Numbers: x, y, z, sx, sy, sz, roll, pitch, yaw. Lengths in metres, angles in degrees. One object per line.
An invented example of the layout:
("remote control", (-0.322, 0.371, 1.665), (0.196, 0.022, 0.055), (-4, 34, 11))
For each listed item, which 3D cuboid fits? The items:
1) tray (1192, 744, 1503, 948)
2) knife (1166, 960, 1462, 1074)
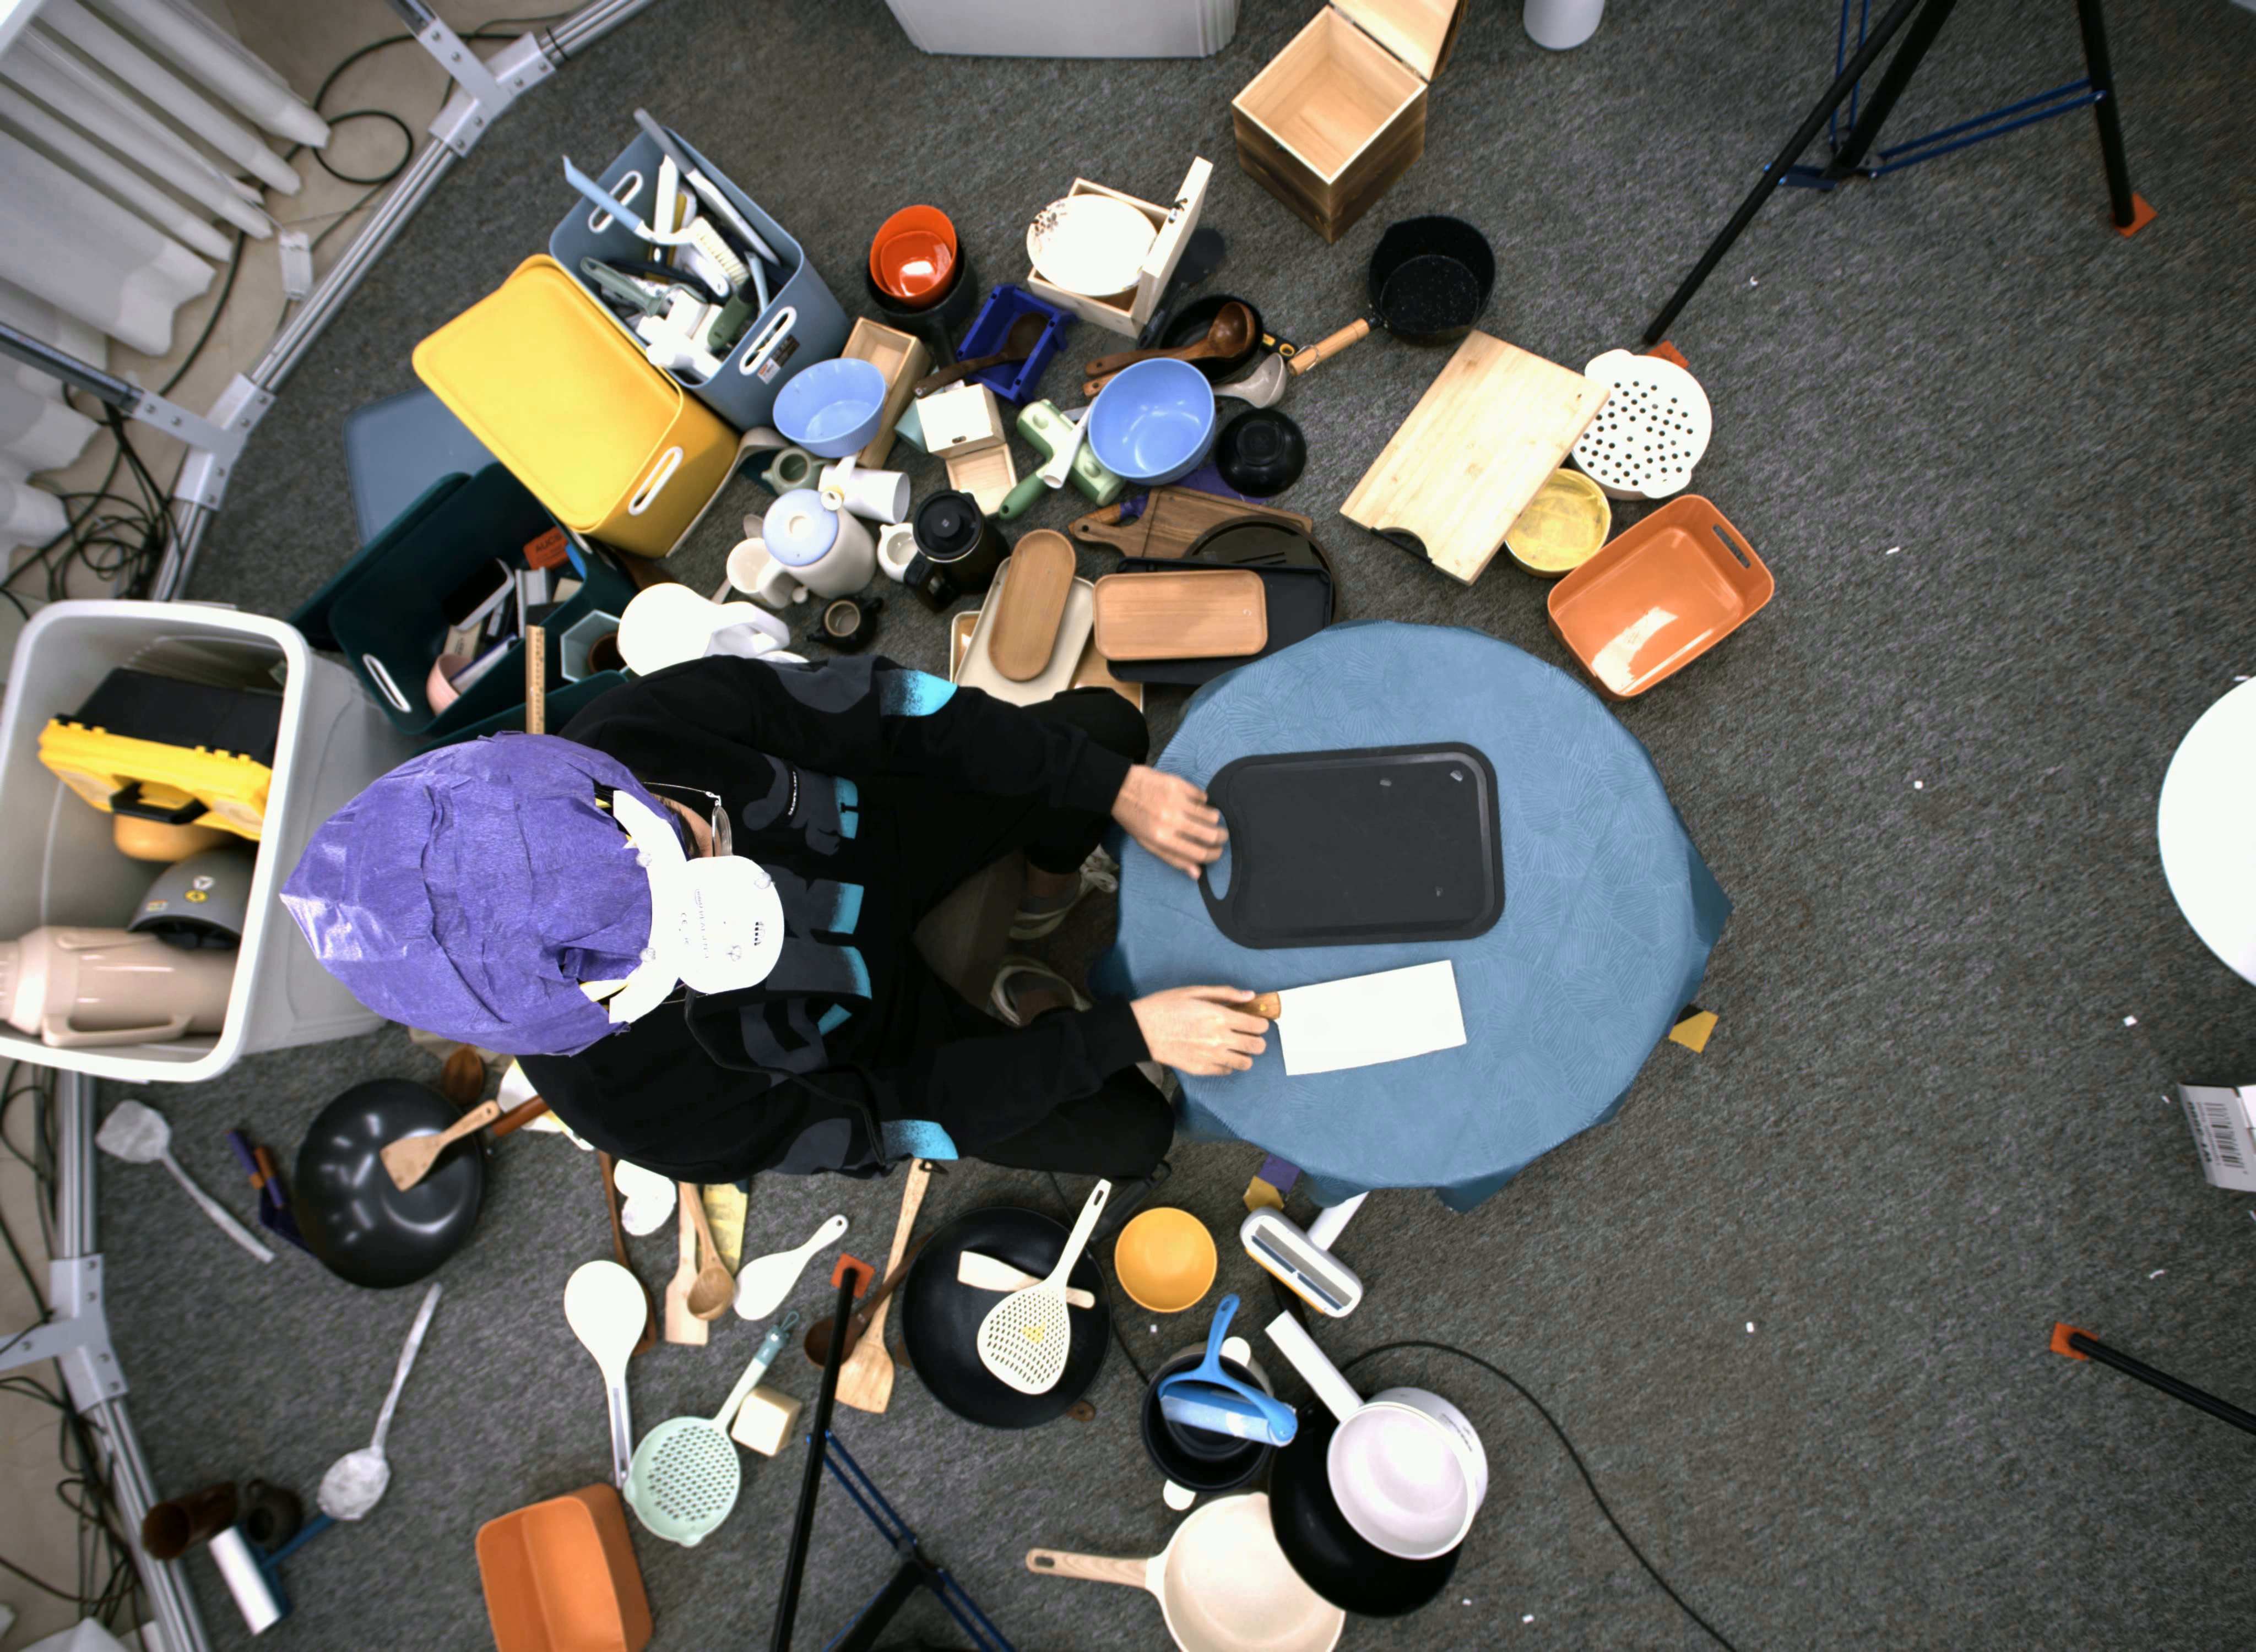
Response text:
("tray", (0.230, 0.021, 1.466), (0.327, 0.010, 0.210), (-3, 86, 10))
("knife", (0.195, 0.209, 1.458), (0.307, 0.021, 0.093), (-12, 90, 9))
